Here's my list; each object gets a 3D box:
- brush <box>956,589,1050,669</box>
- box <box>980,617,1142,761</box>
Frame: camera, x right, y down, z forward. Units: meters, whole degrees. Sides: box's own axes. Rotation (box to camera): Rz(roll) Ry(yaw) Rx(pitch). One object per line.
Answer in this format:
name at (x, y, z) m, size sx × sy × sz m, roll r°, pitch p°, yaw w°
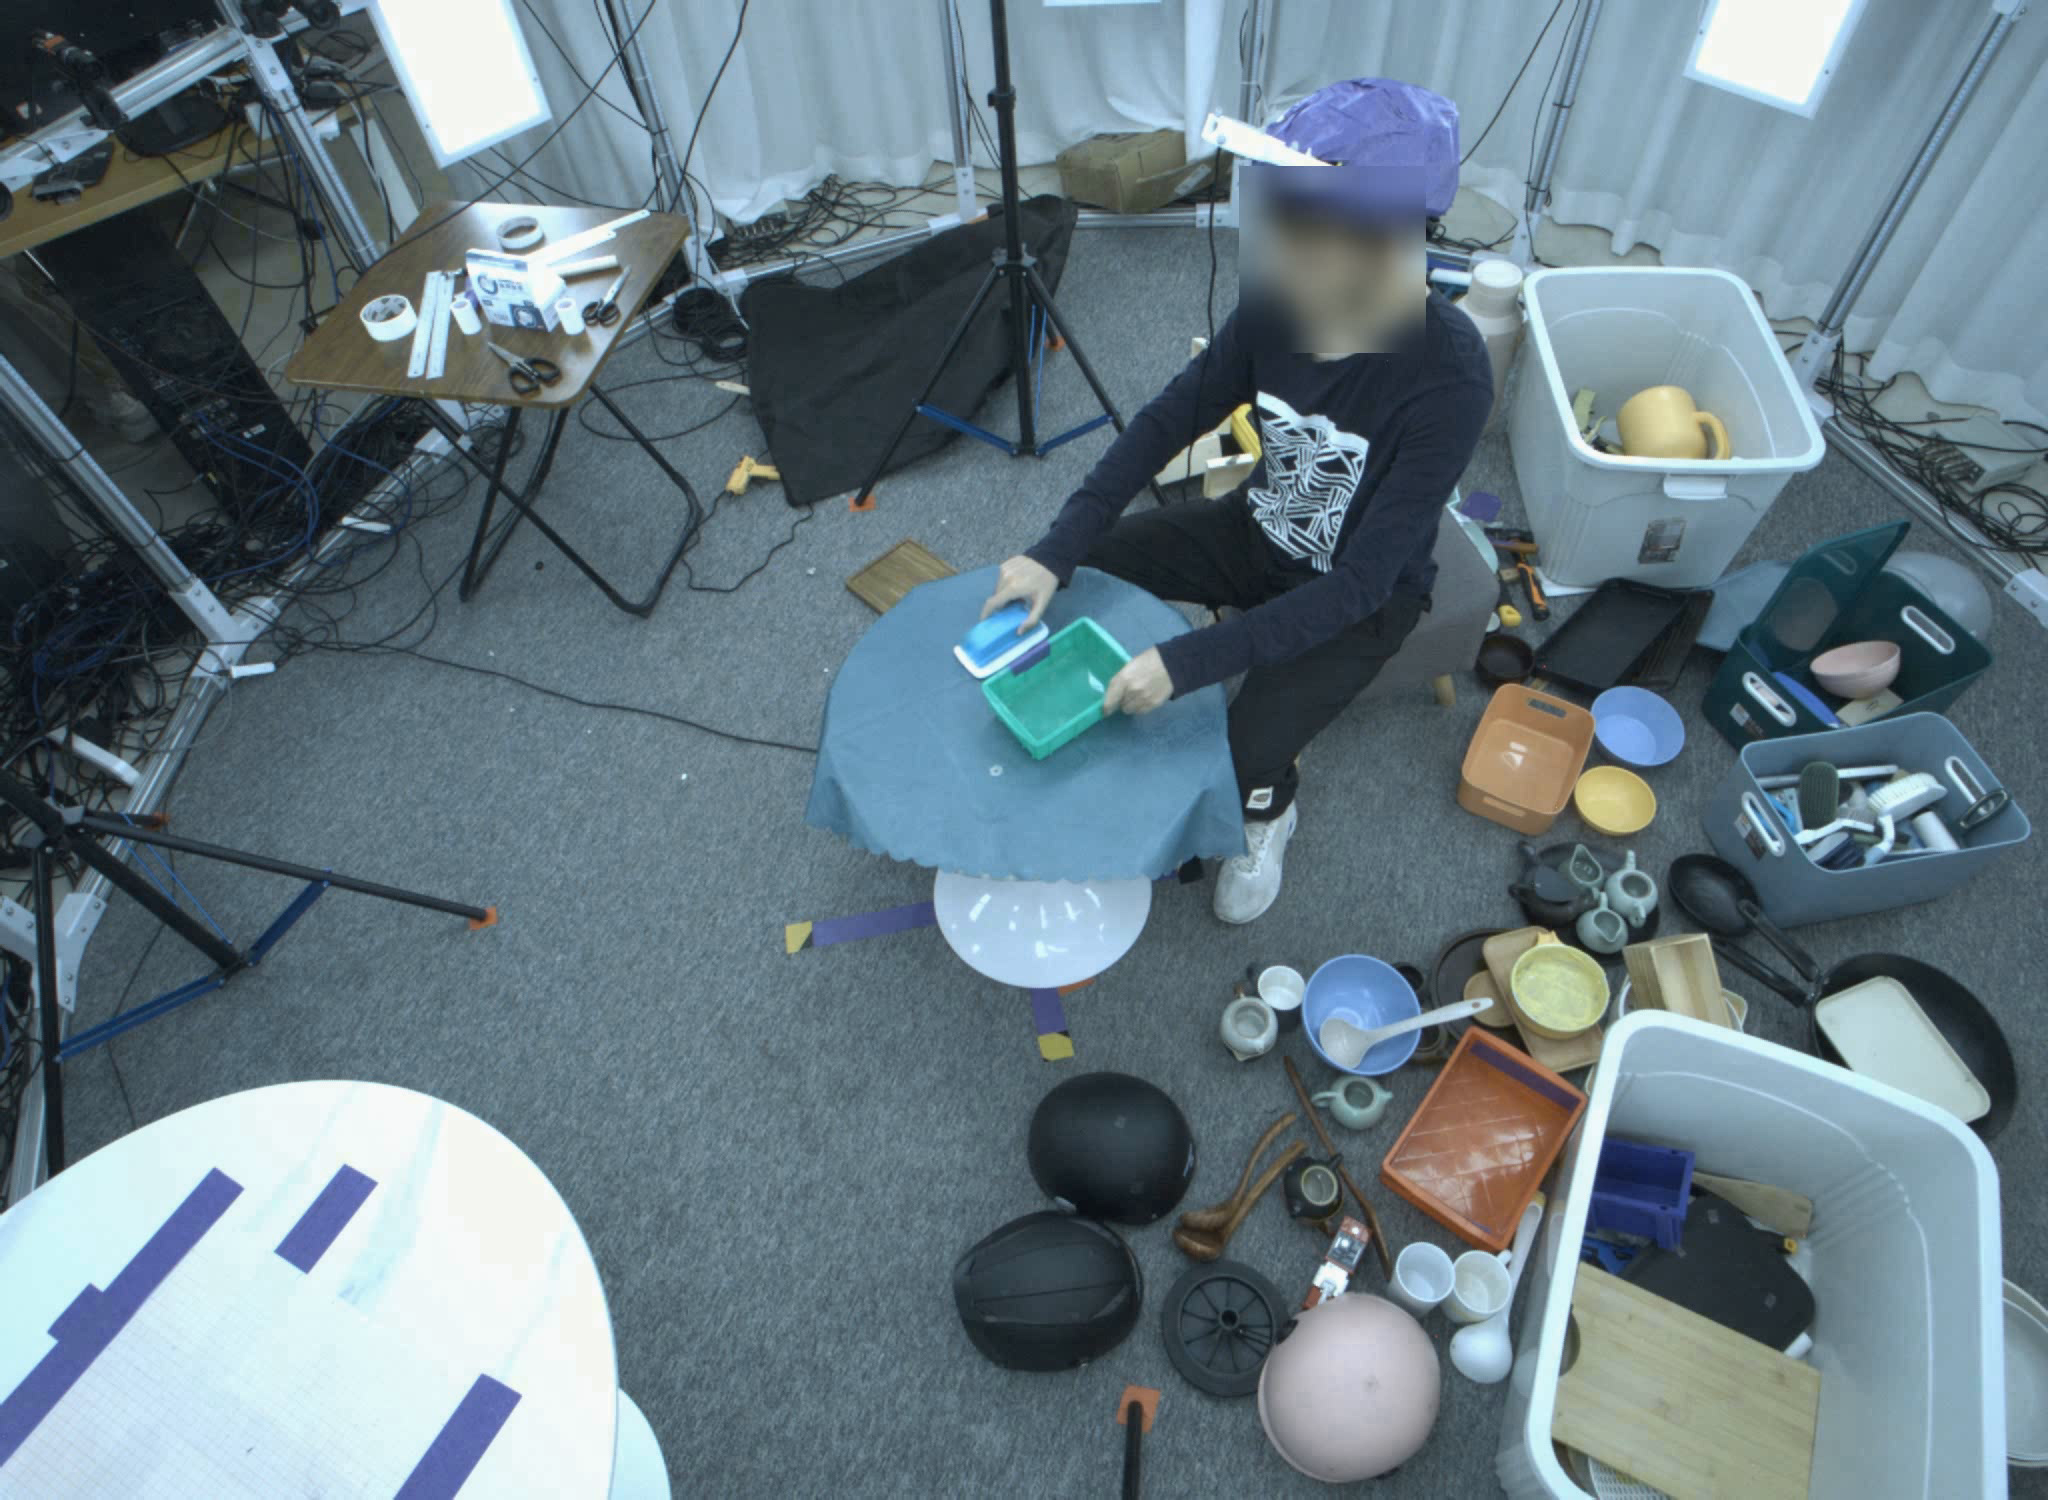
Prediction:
brush at (-0.035, -0.191, 1.866) m, size 0.144 × 0.057 × 0.082 m, roll -38°, pitch 58°, yaw -6°
box at (0.054, -0.085, 1.779) m, size 0.212 × 0.066 × 0.136 m, roll -35°, pitch 66°, yaw -17°
